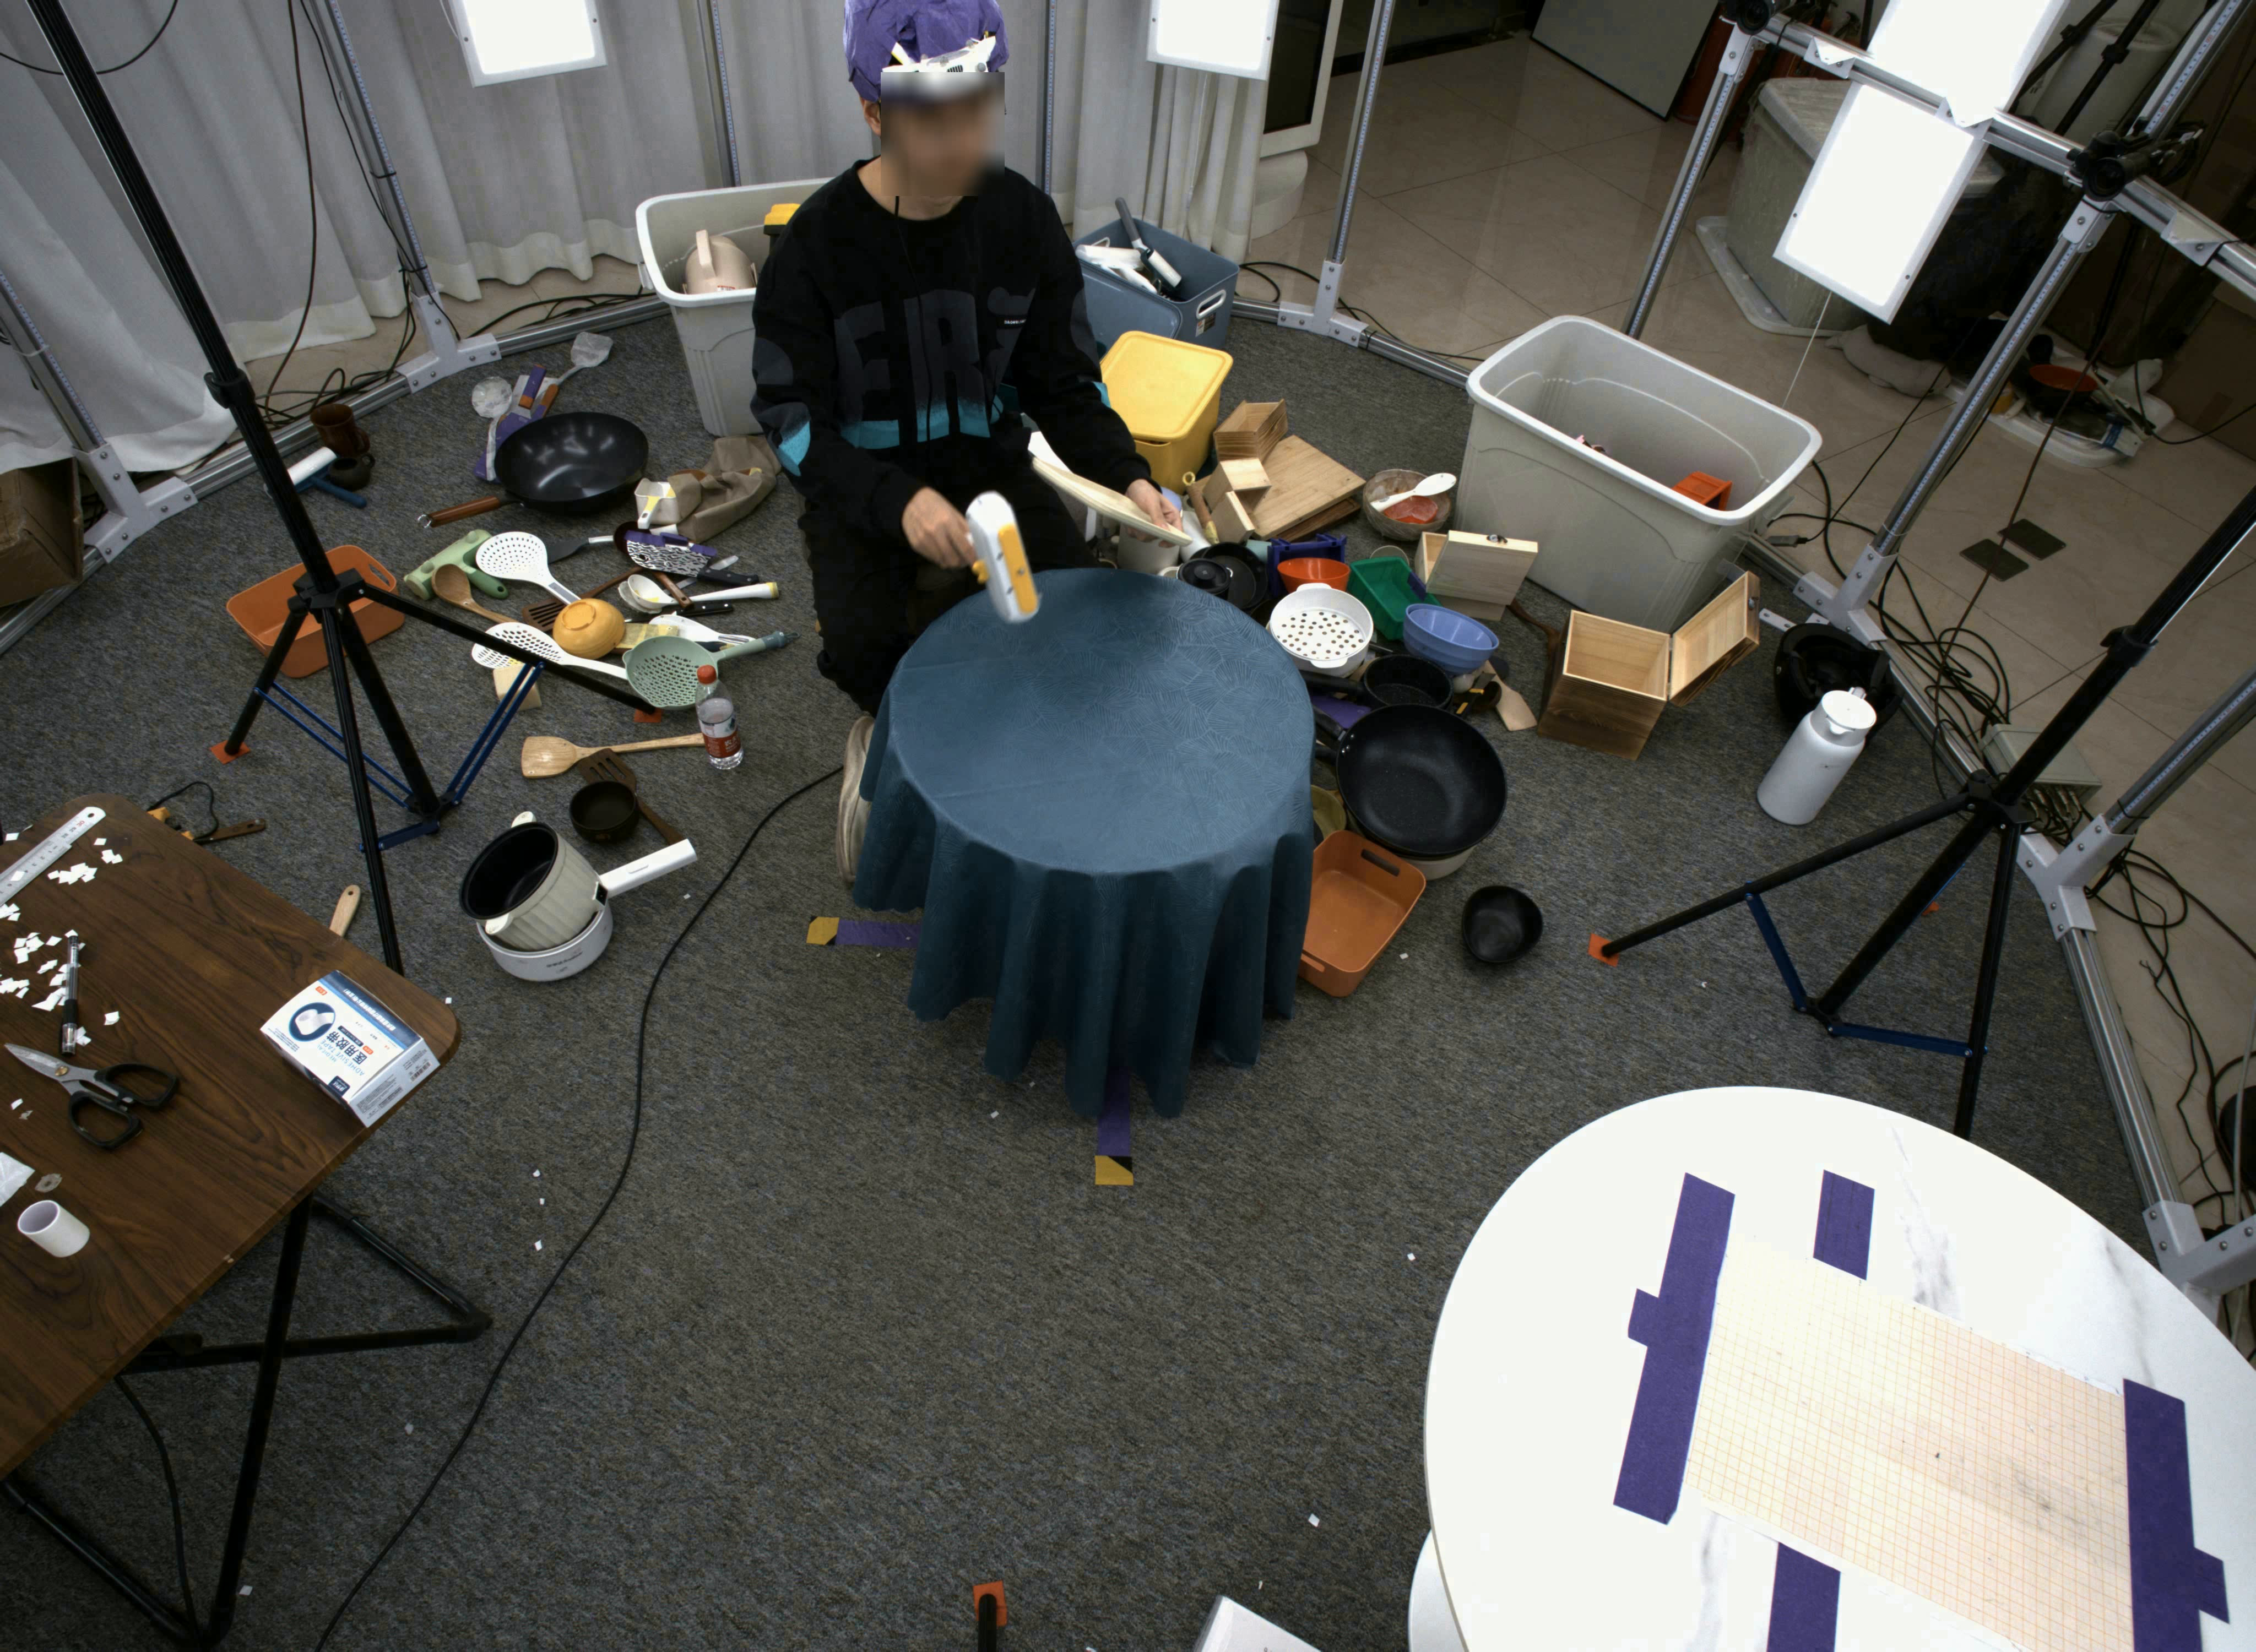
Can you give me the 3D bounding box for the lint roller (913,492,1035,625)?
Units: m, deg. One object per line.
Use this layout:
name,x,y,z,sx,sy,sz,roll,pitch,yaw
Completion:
lint roller,-0.215,-0.373,1.752,0.075,0.188,0.196,-41,49,-17

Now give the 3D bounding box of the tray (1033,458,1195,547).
tray,-0.019,-0.461,1.851,0.174,0.017,0.238,39,19,32
